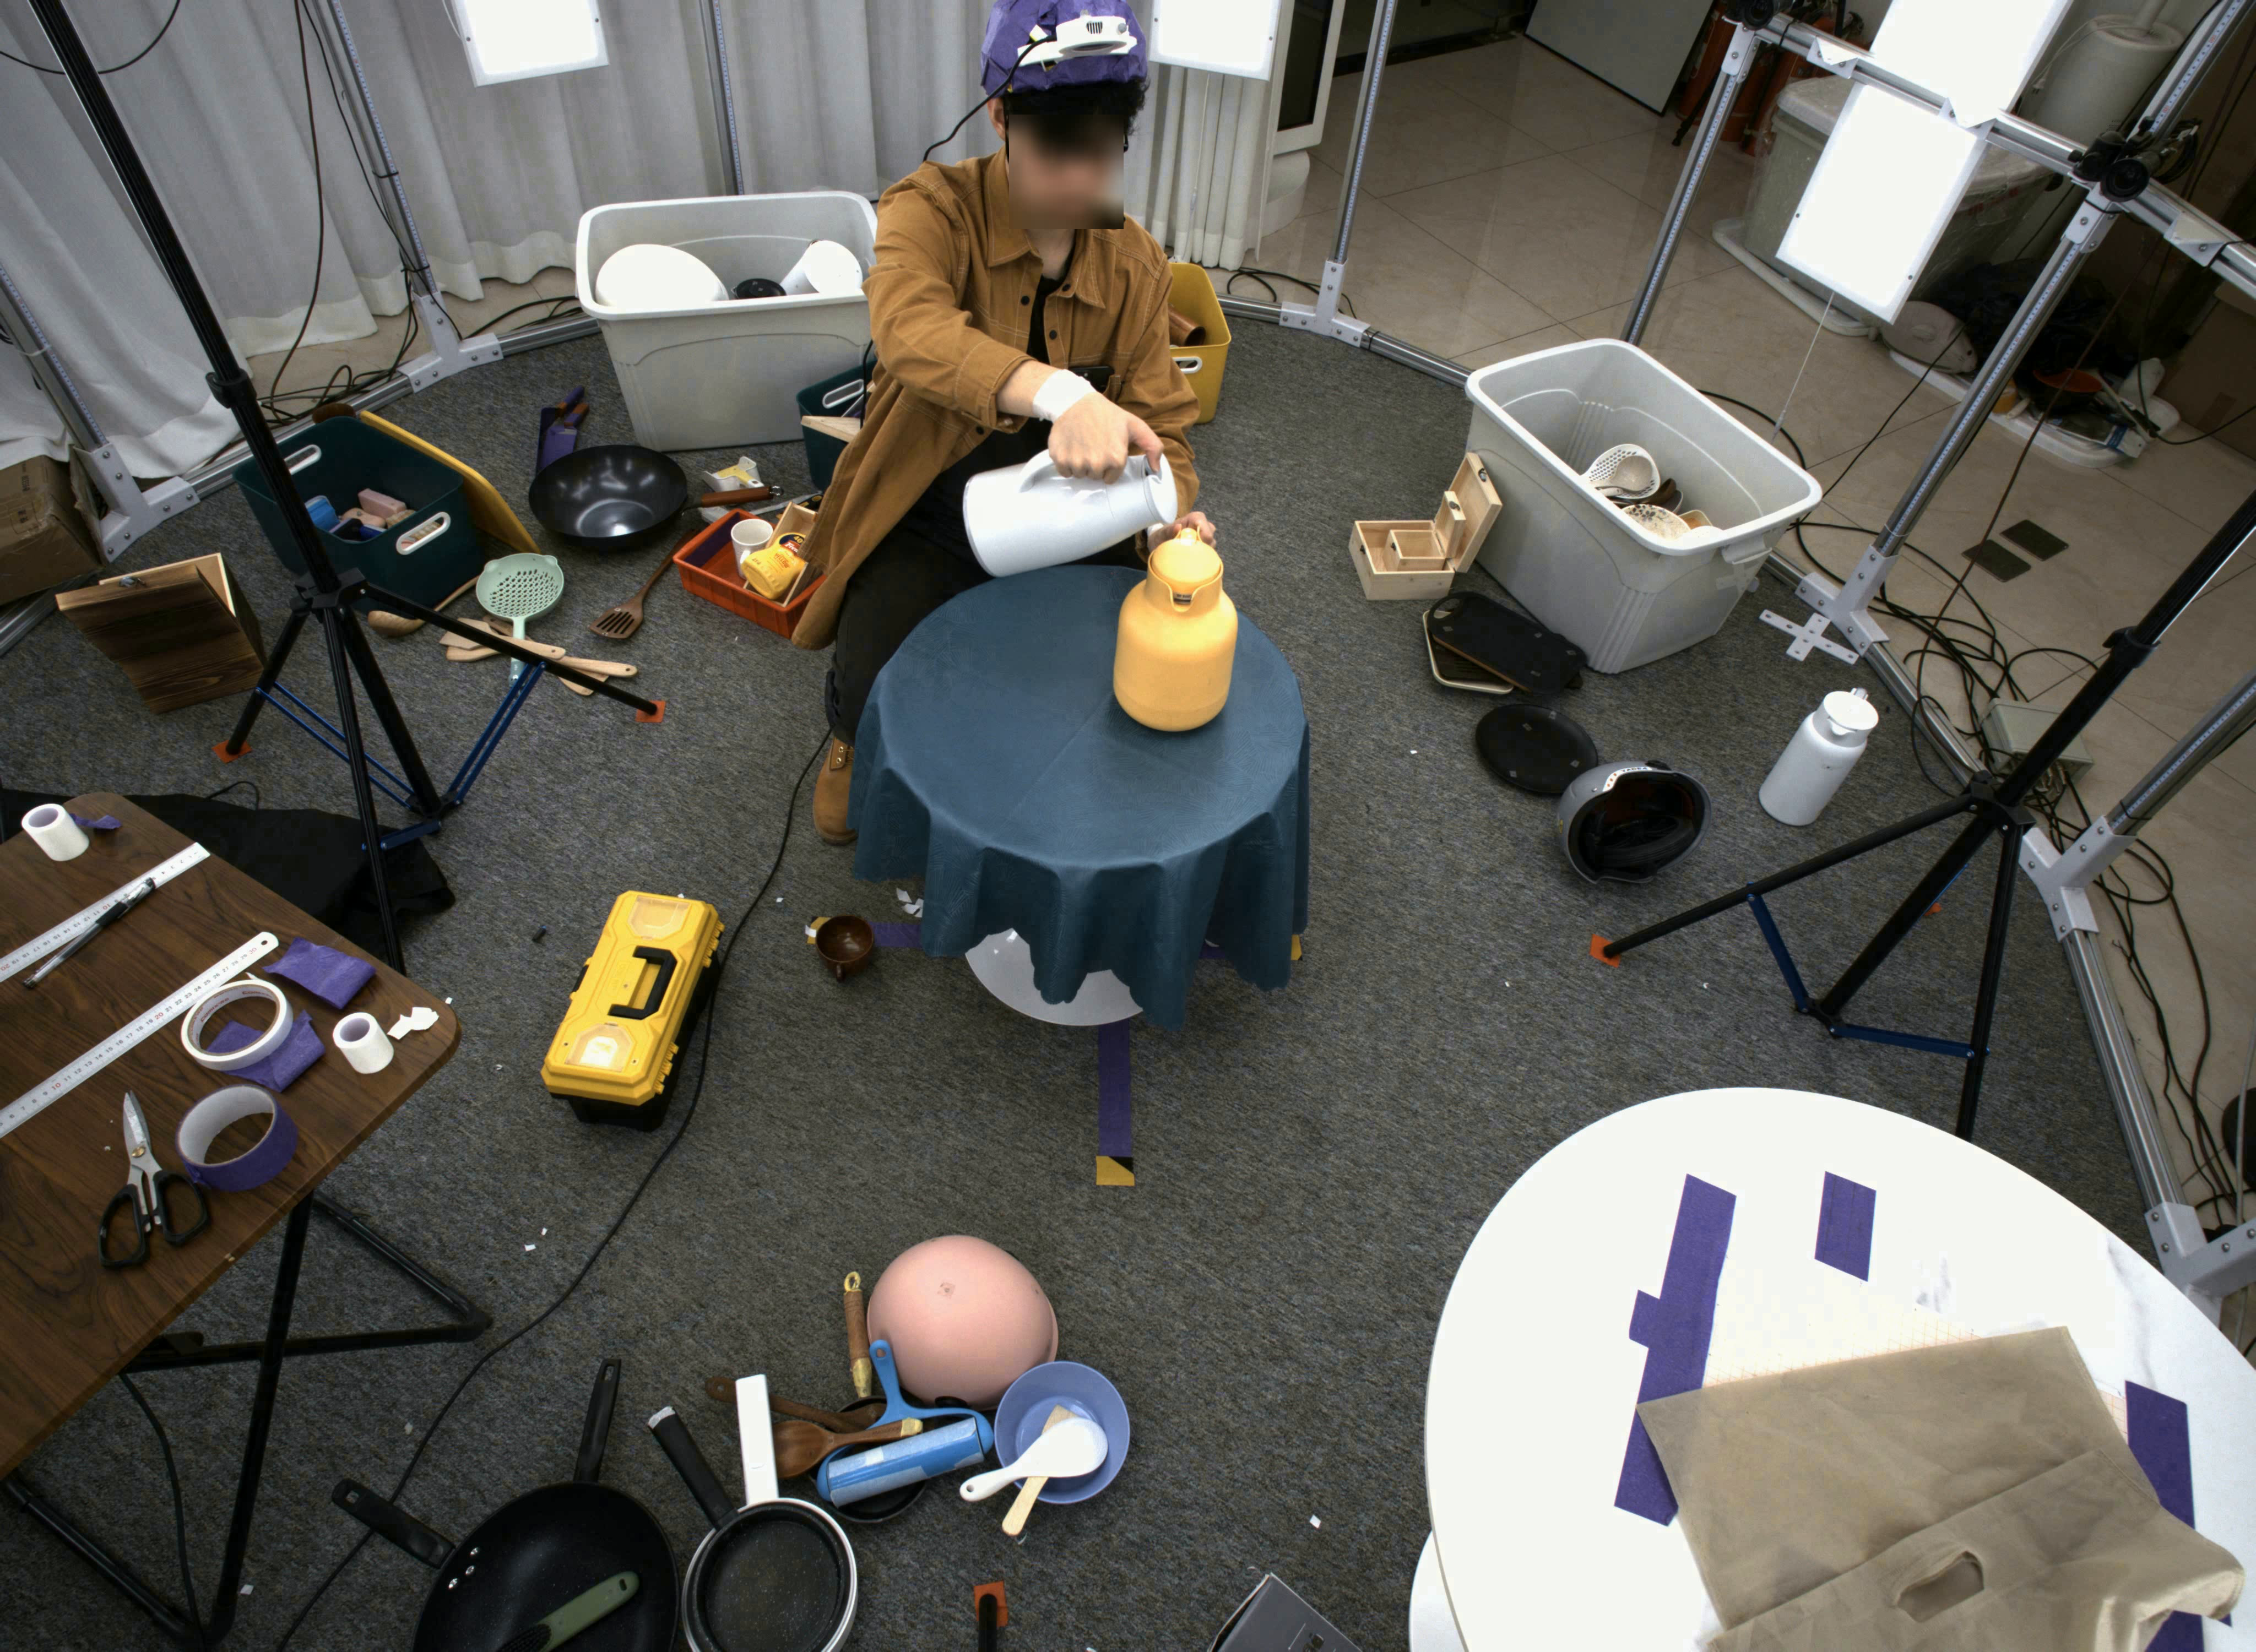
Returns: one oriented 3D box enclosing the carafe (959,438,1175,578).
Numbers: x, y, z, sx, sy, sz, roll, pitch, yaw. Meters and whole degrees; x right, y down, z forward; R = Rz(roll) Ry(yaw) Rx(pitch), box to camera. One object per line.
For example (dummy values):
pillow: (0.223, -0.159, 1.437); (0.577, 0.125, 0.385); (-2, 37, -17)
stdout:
carafe: (-0.075, -0.400, 1.567); (0.248, 0.164, 0.135); (-8, 64, 23)

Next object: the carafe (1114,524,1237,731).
carafe: (0.070, -0.277, 1.746); (0.163, 0.254, 0.207); (9, 50, 2)
